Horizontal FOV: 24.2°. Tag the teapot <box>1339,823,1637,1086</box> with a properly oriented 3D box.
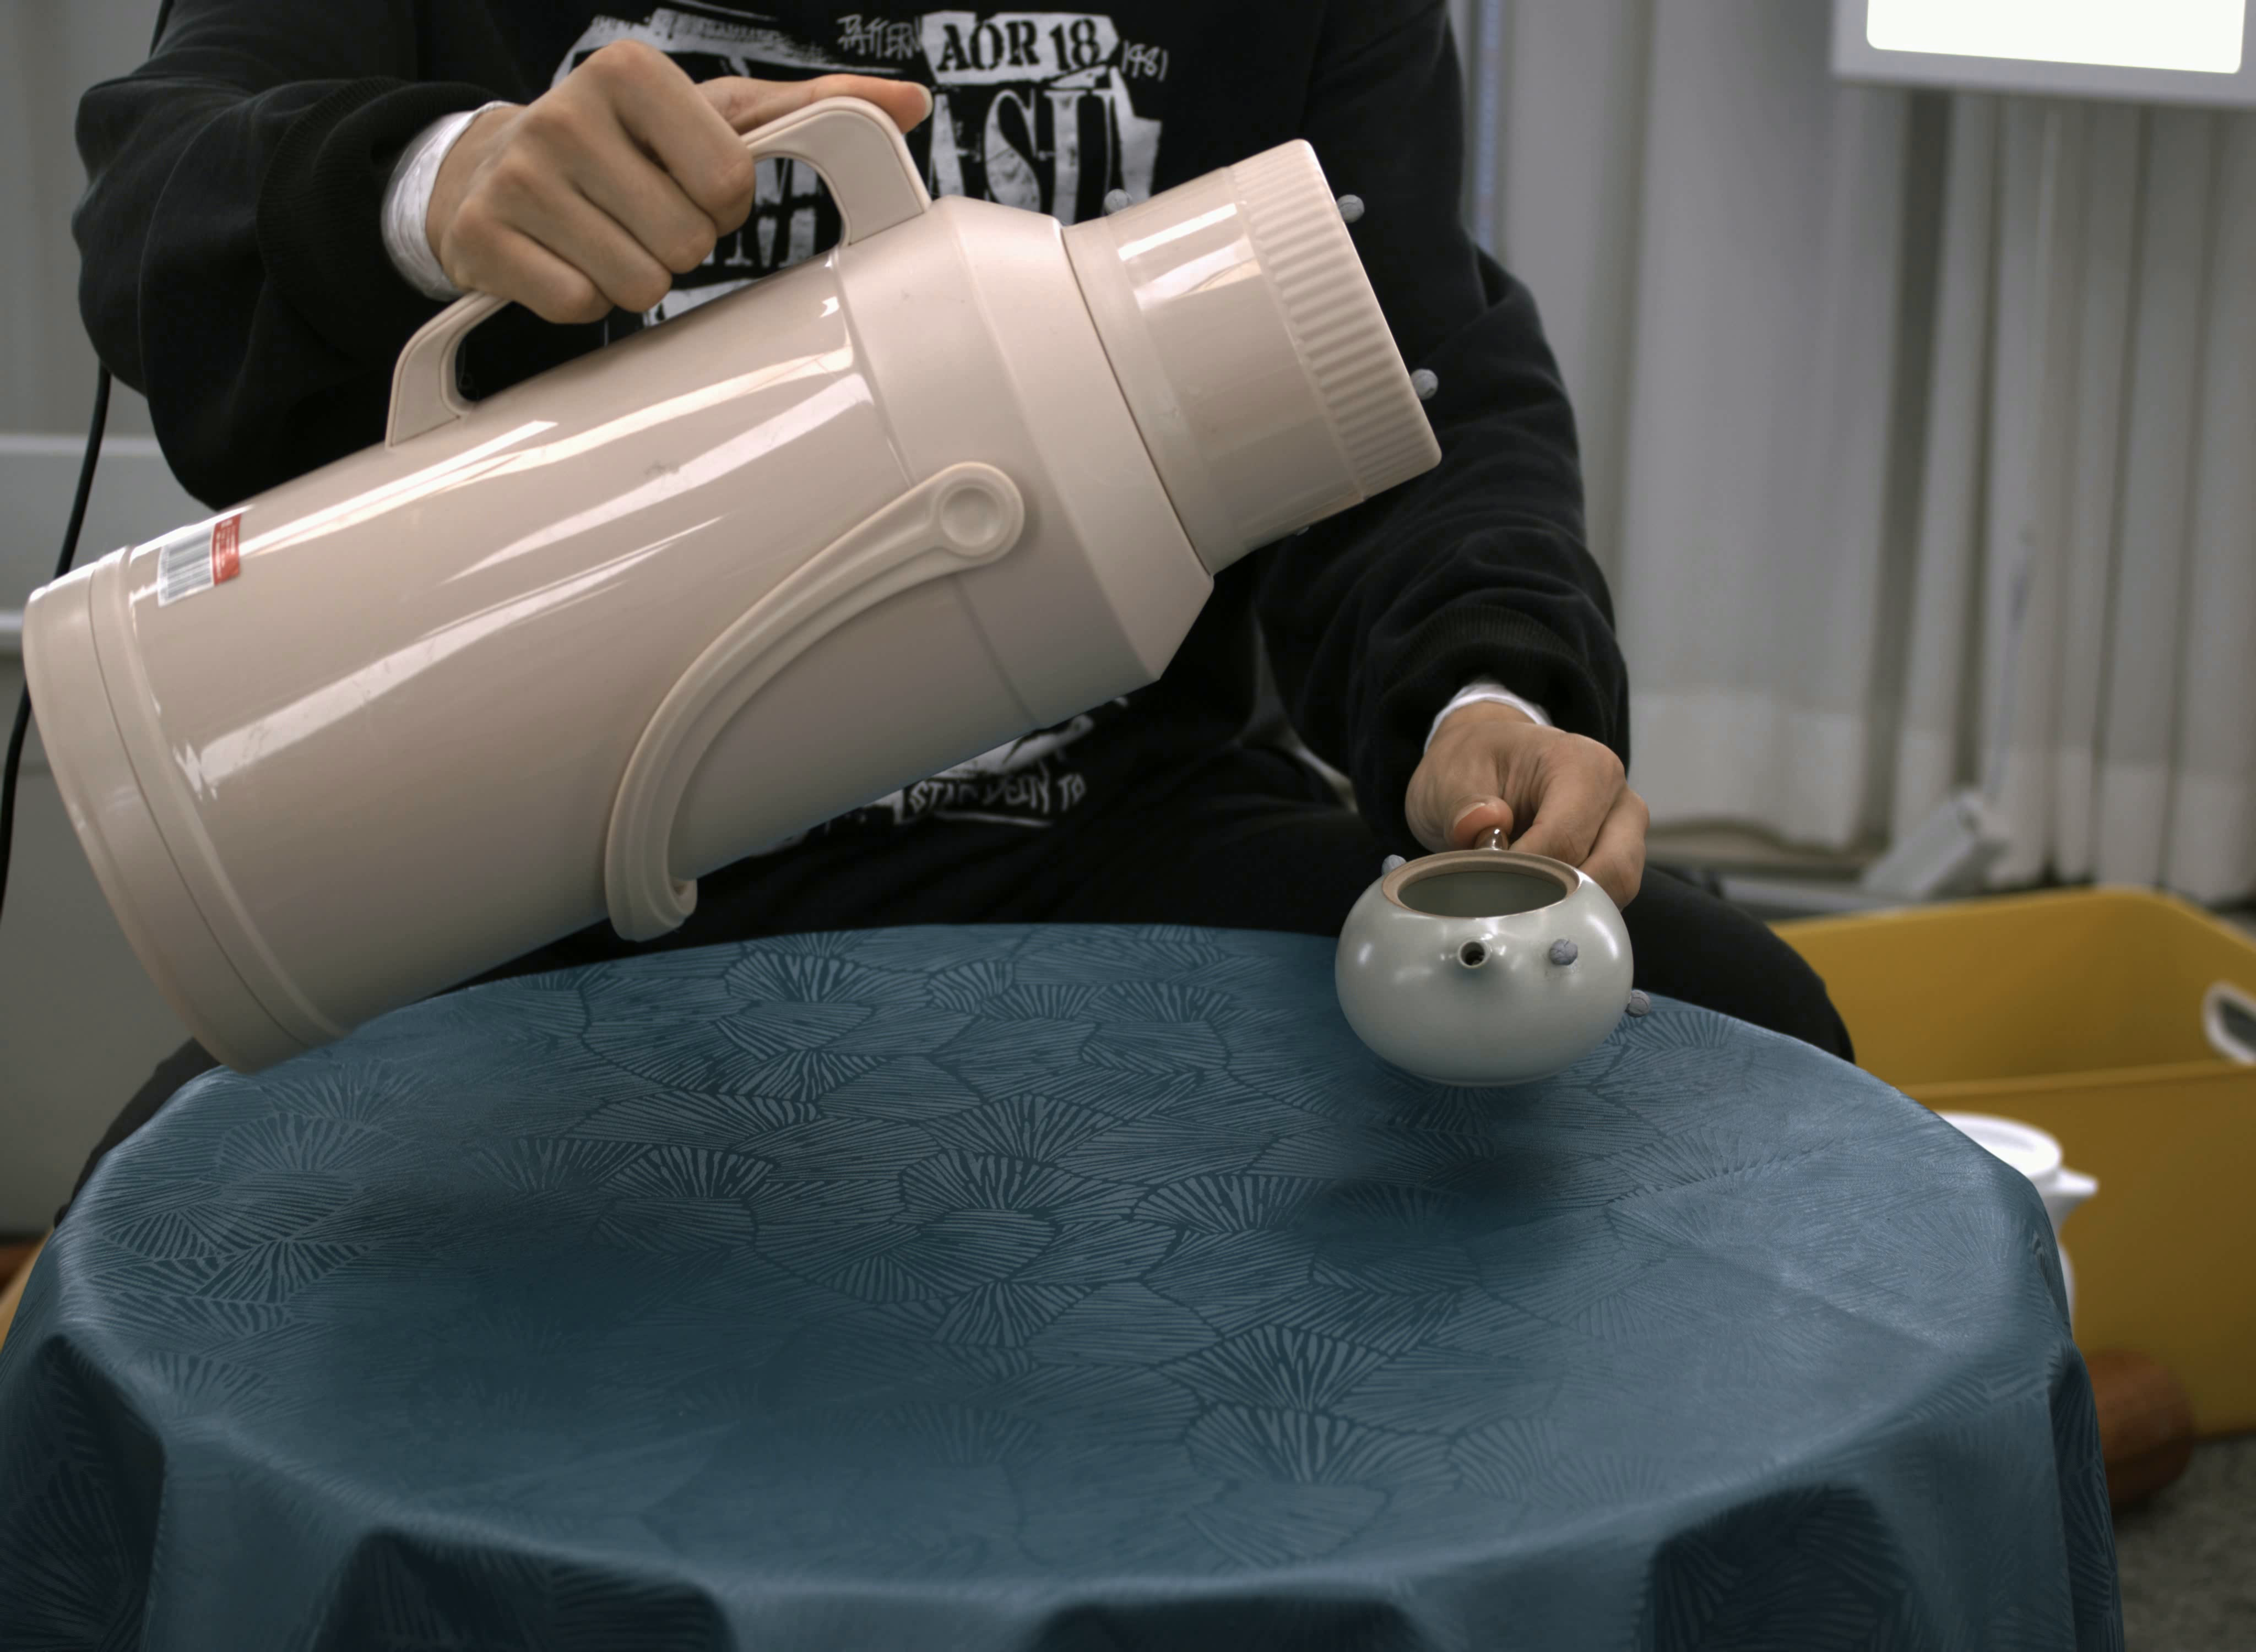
[{"bbox_3d":[0.111,0.040,1.628,0.091,0.060,0.127,-4,20,6],"label":"teapot"}]

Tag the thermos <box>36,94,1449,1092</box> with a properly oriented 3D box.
[{"bbox_3d":[-0.115,-0.087,1.551,0.405,0.208,0.174,-24,13,7],"label":"thermos"}]
